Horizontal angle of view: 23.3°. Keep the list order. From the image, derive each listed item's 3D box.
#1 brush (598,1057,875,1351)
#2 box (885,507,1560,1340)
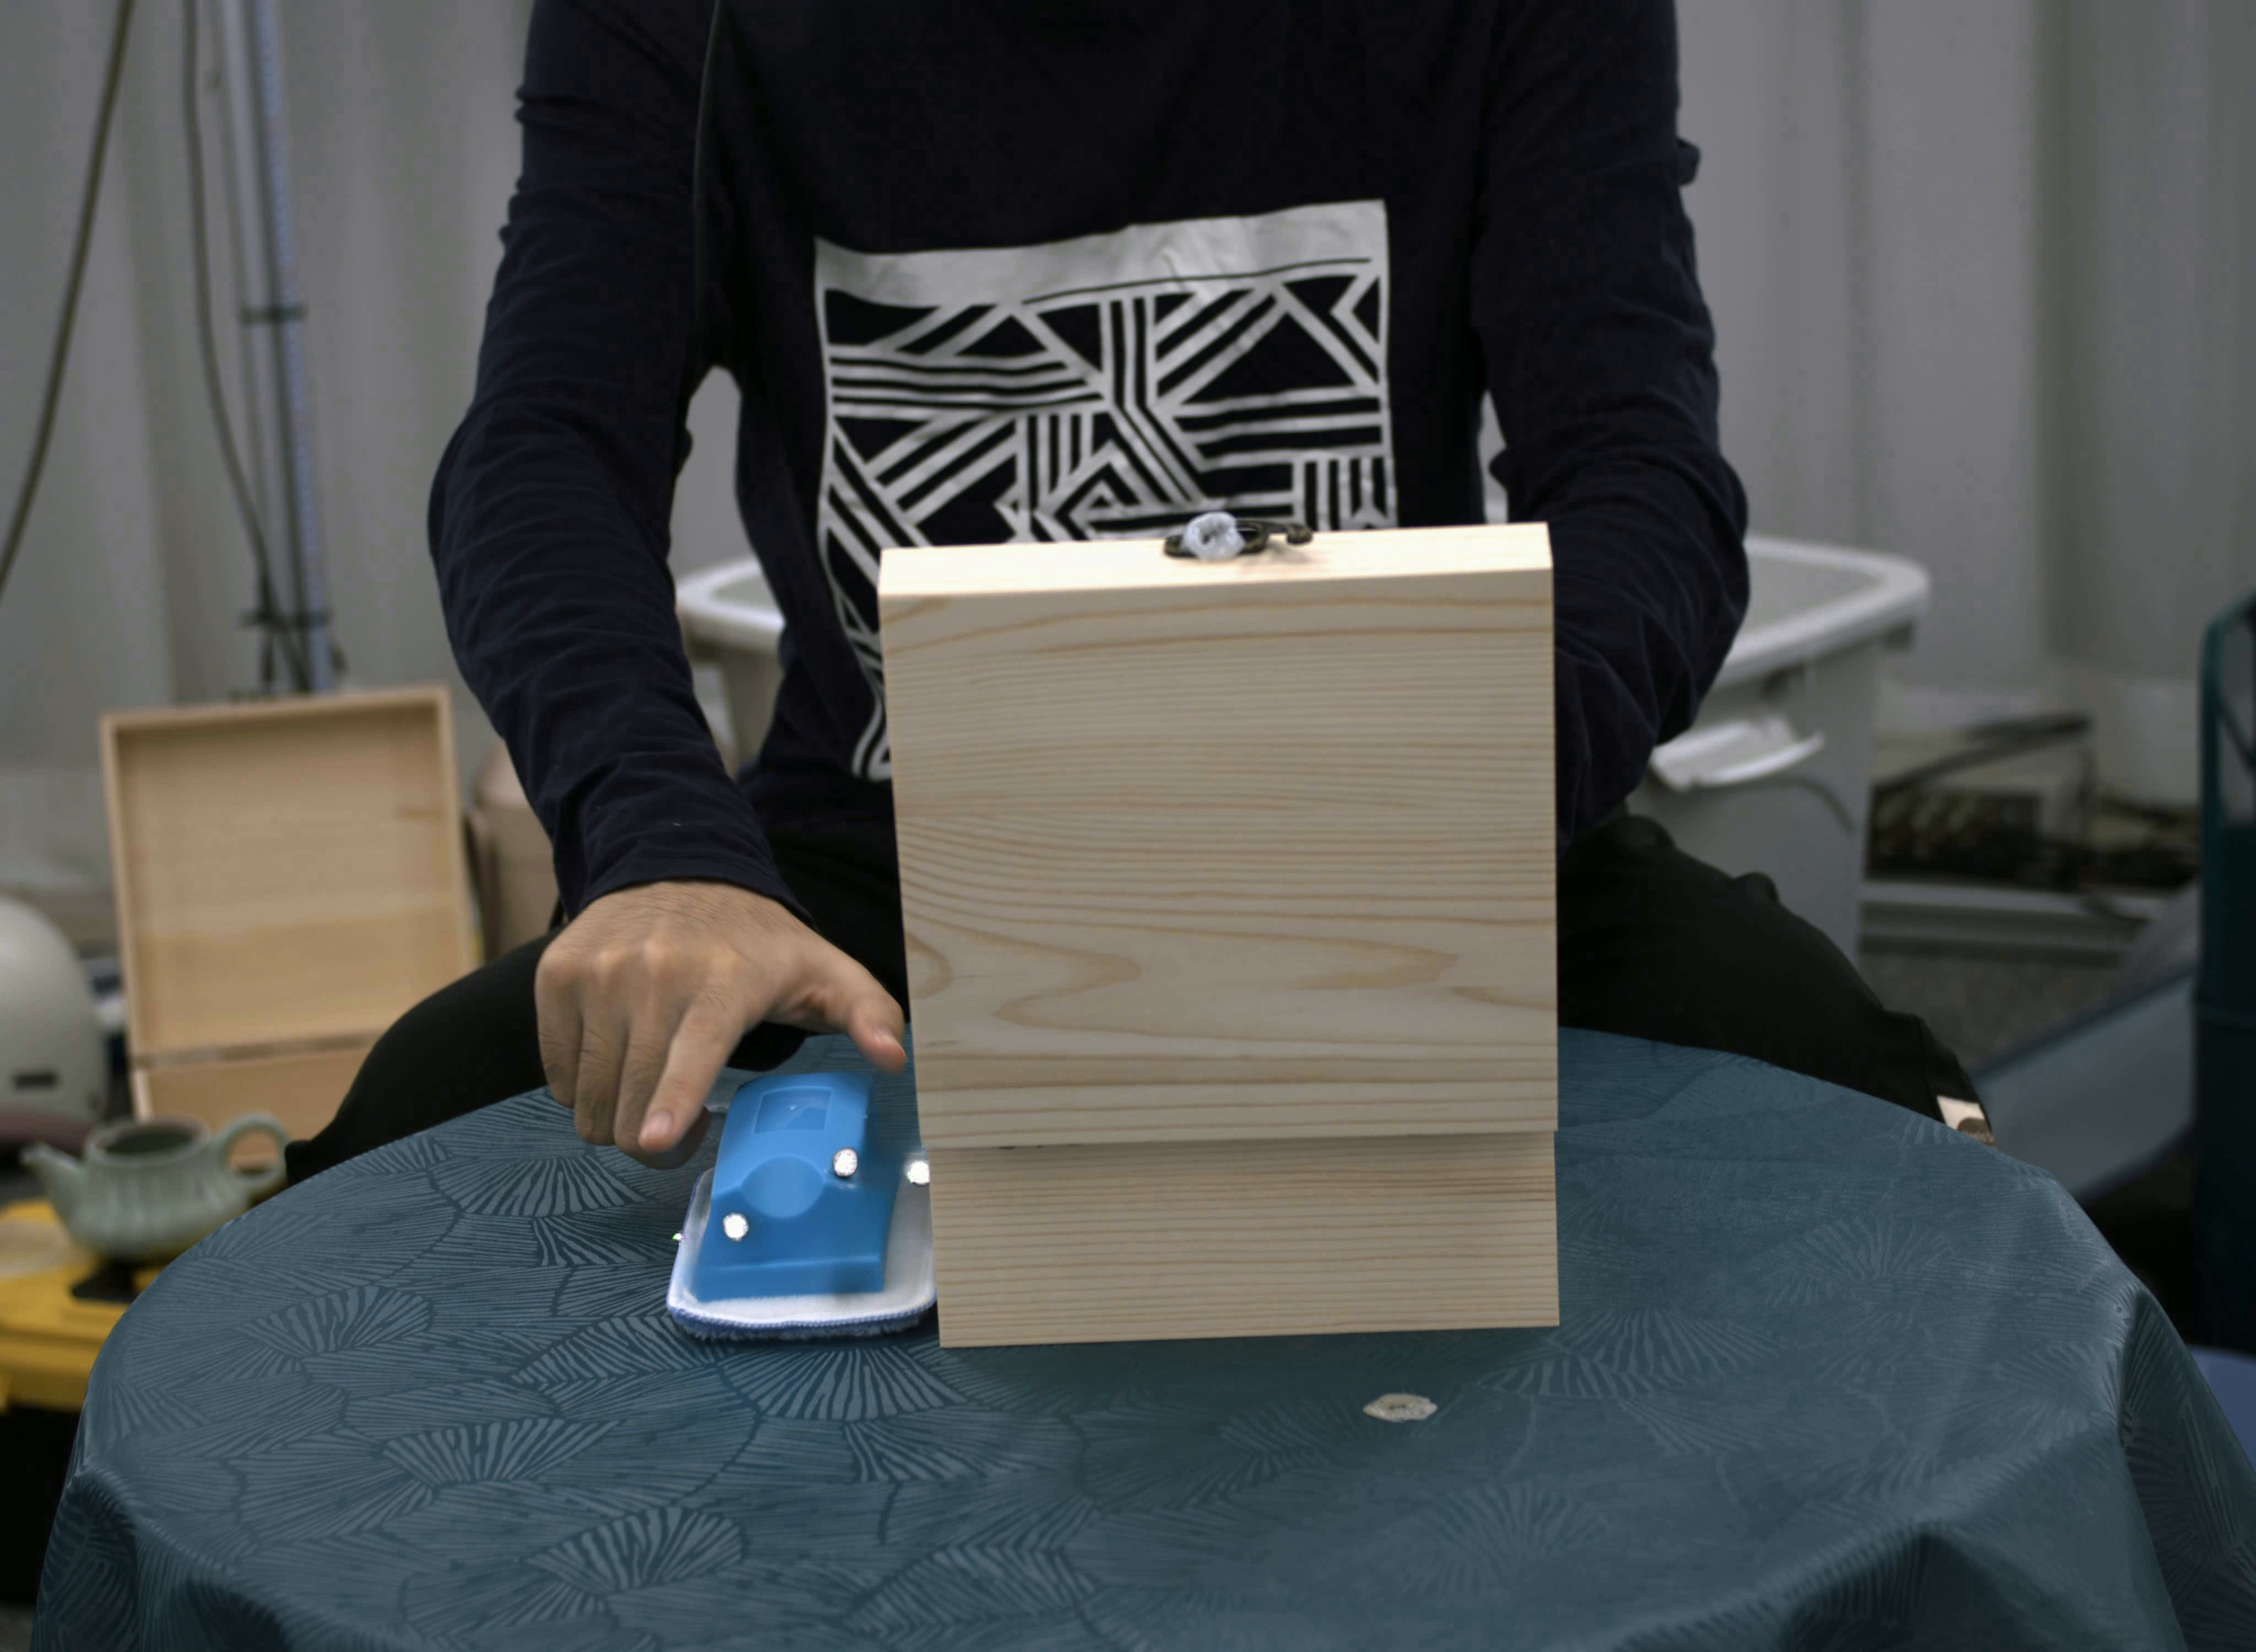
[{"bbox_3d":[-0.116,0.111,1.654,0.083,0.055,0.145,5,18,-9],"label":"brush"},{"bbox_3d":[0.029,0.012,1.607,0.181,0.252,0.267,-2,14,0],"label":"box"}]
